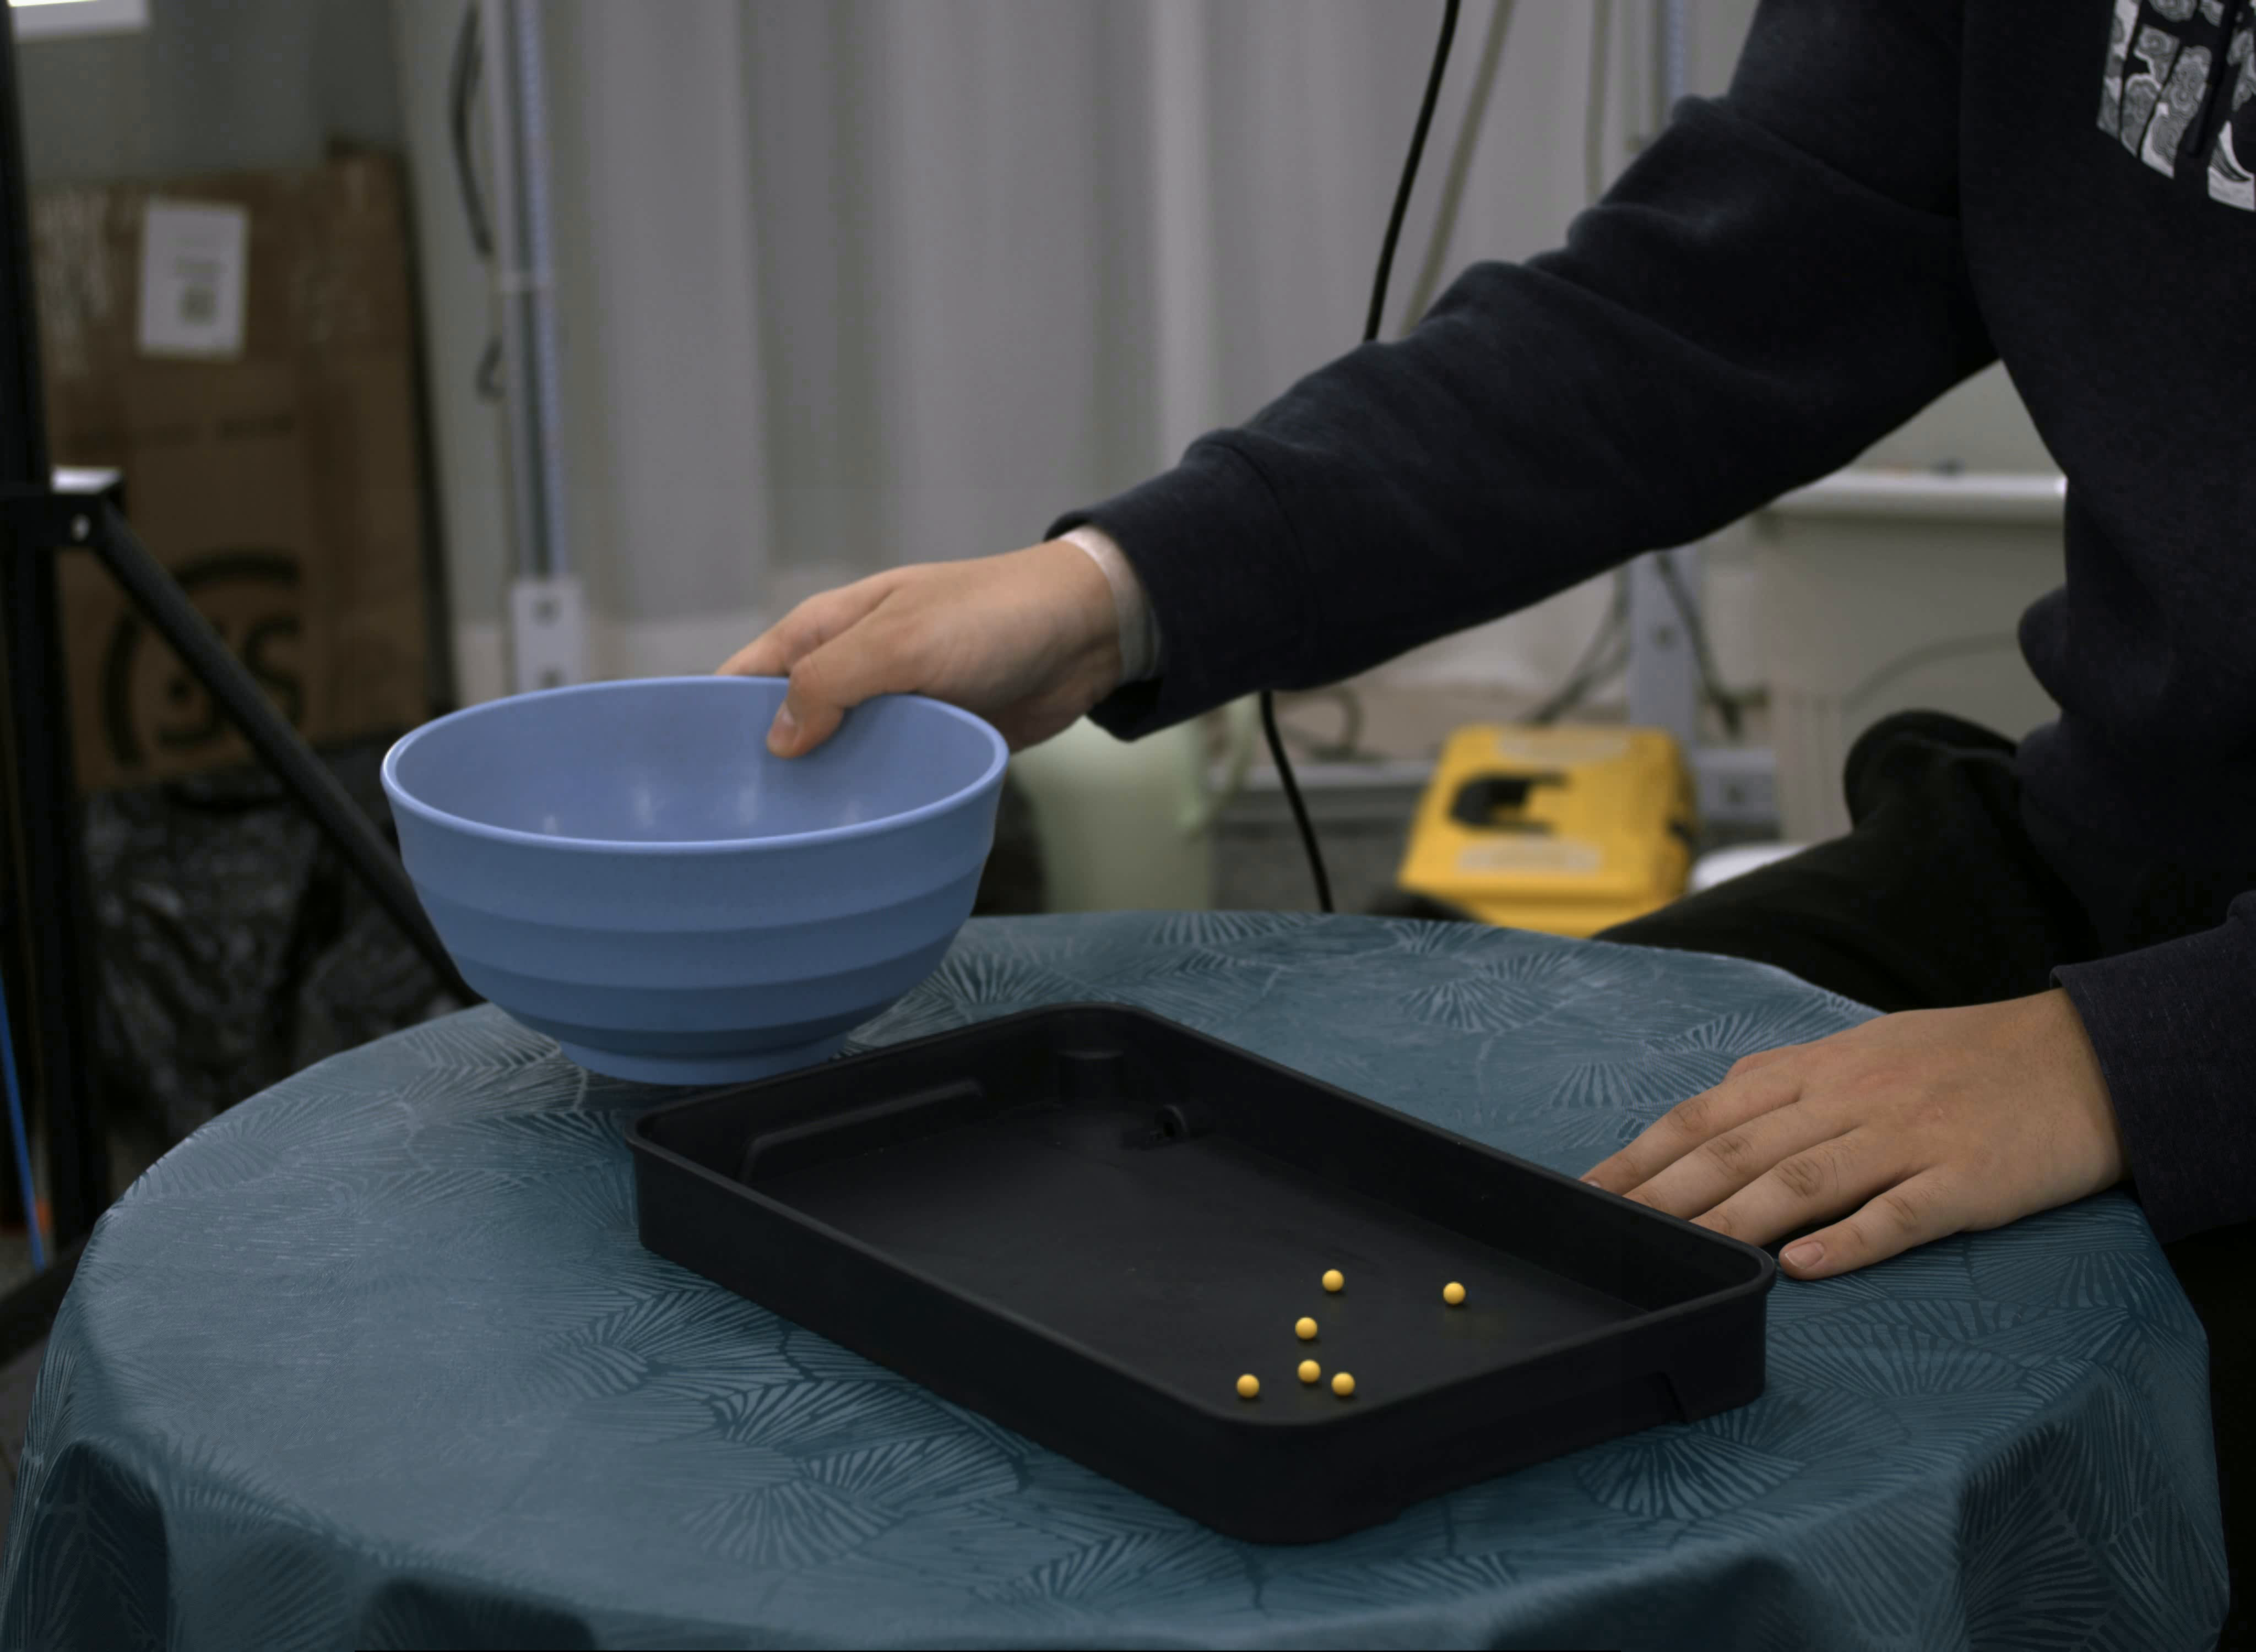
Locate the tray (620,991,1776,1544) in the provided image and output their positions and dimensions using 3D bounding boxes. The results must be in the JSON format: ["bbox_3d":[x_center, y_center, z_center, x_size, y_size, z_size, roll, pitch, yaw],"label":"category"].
[{"bbox_3d":[0.013,0.115,1.462,0.180,0.037,0.325,-13,19,-33],"label":"tray"}]

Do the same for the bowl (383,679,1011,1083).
[{"bbox_3d":[-0.133,0.022,1.674,0.195,0.095,0.197,-2,15,-1],"label":"bowl"}]
